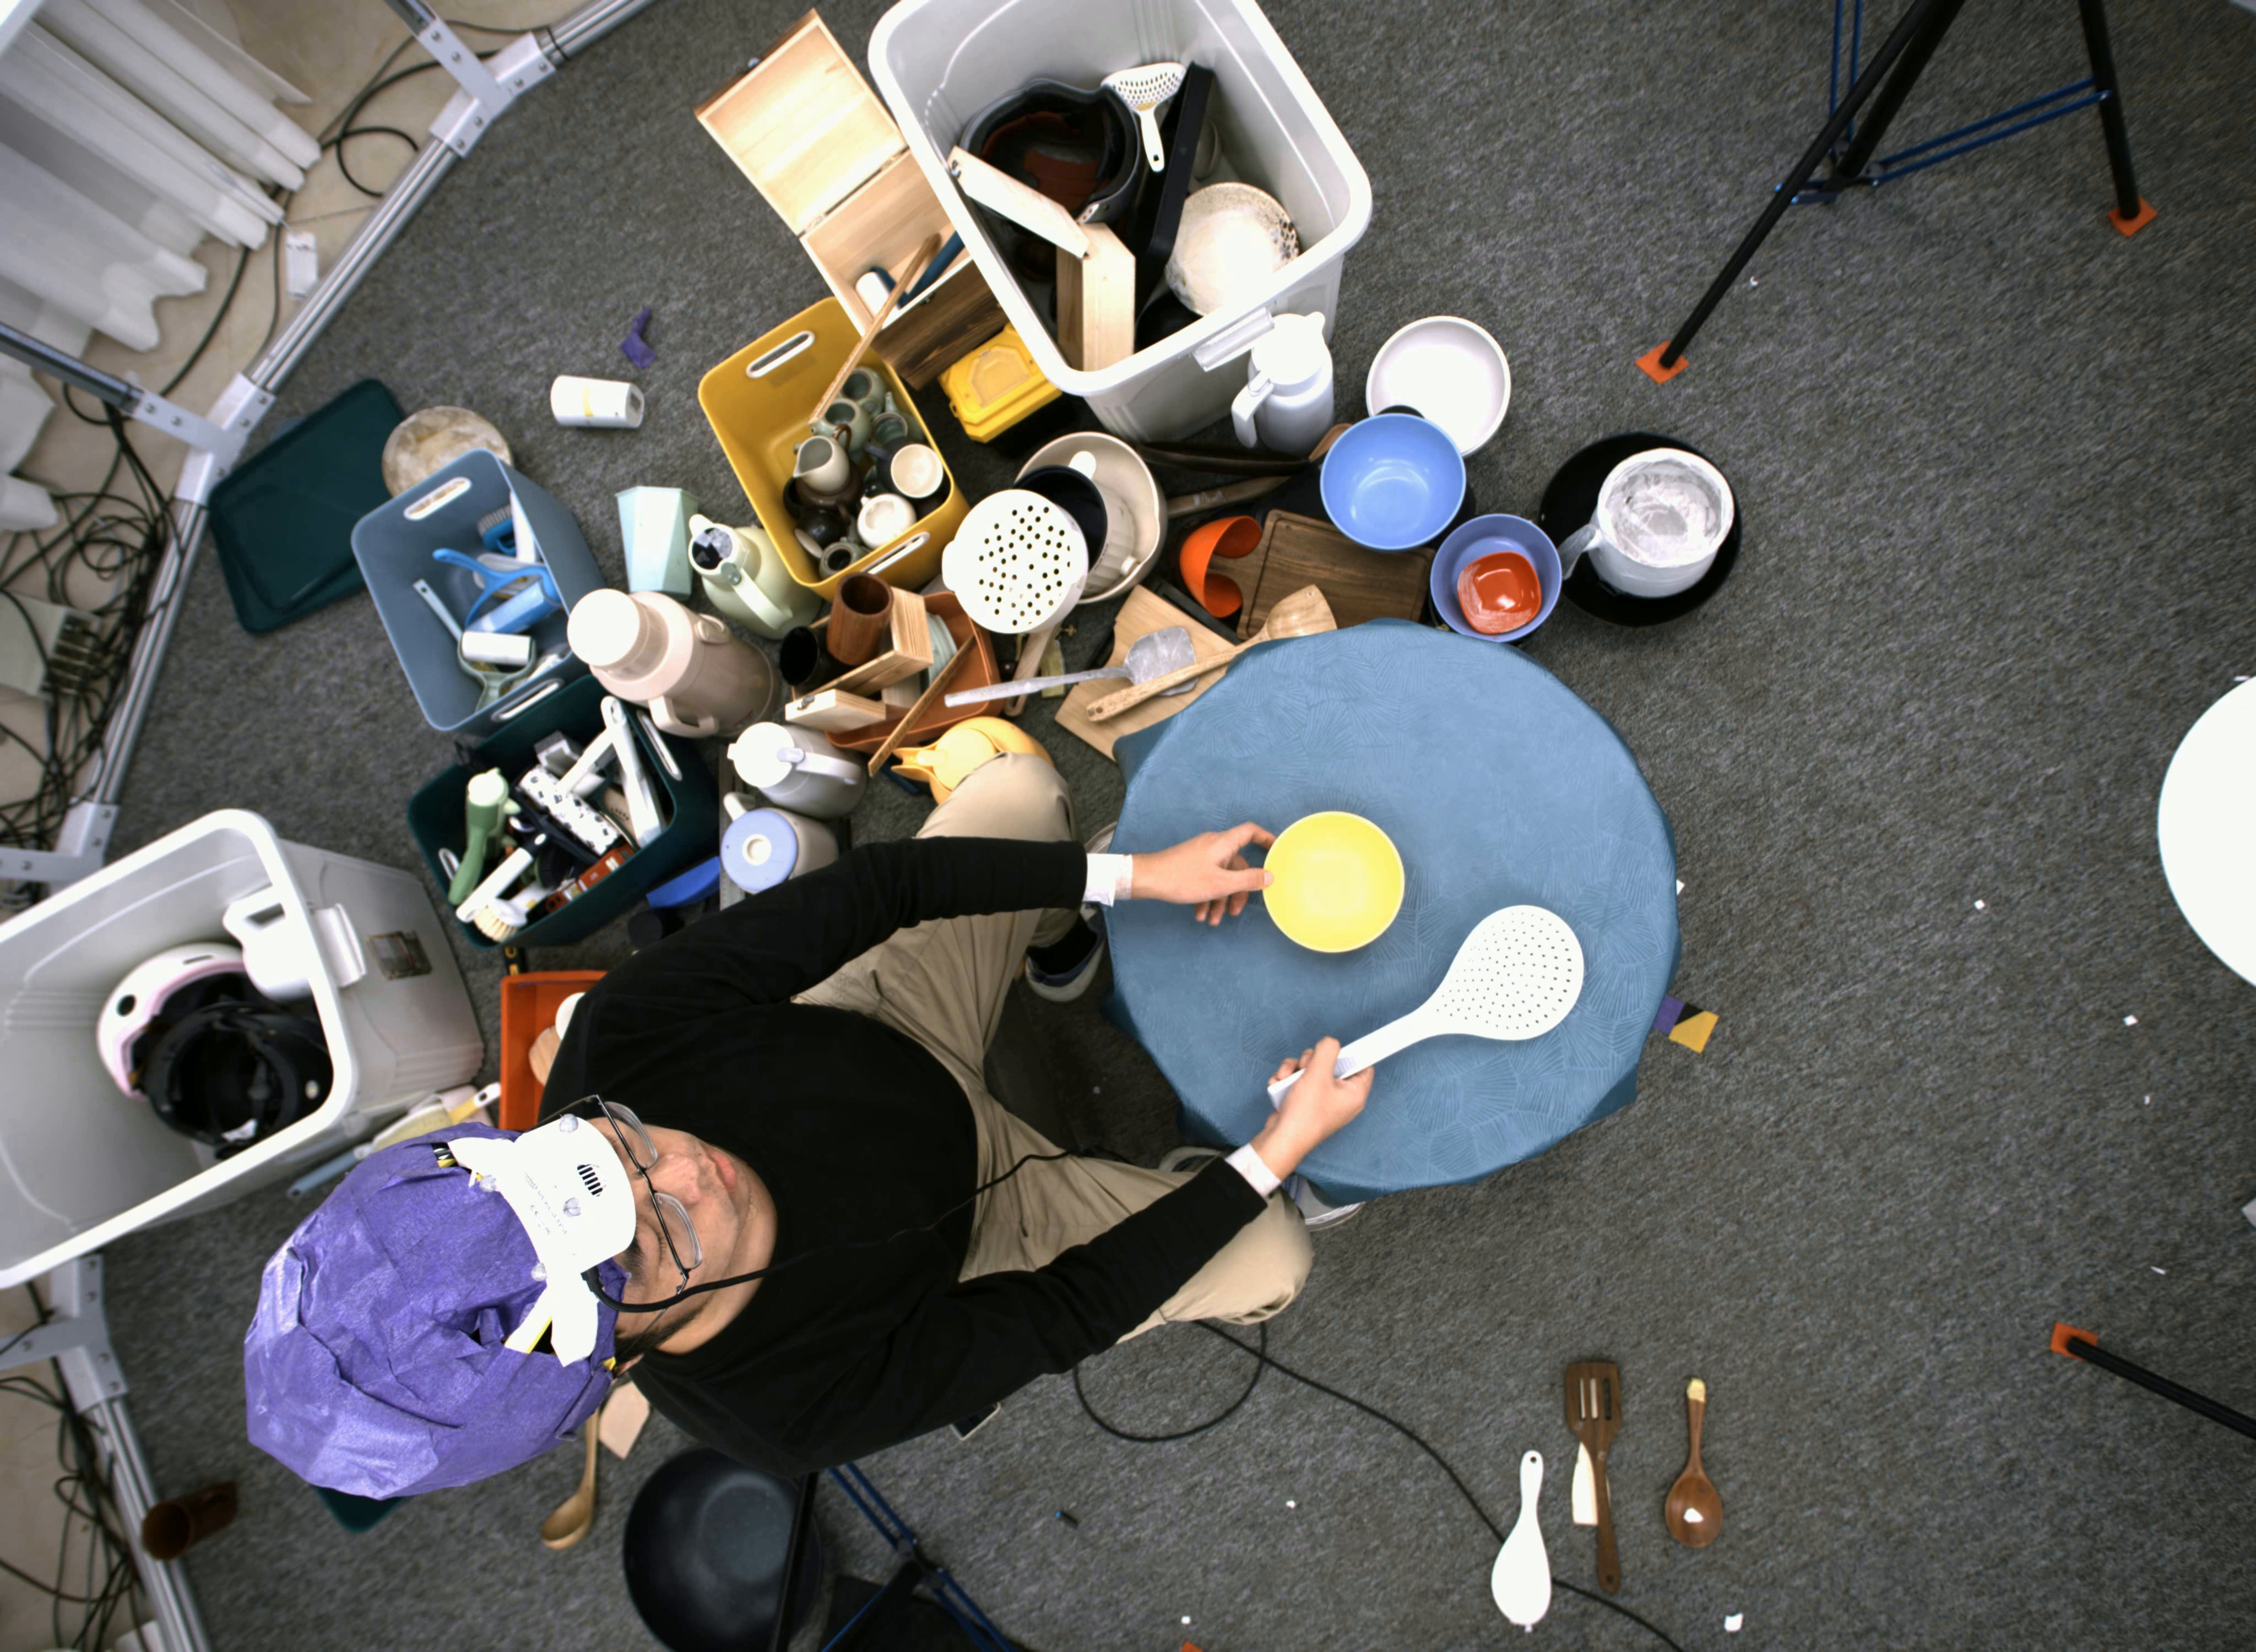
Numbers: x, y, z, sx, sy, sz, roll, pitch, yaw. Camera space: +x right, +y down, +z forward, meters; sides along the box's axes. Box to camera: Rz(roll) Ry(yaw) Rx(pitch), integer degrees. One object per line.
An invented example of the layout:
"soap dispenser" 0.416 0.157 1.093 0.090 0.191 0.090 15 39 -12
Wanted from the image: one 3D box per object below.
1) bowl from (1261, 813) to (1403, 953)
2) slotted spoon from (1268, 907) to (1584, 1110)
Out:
"bowl" 0.212 0.061 1.443 0.146 0.060 0.144 -1 84 9
"slotted spoon" 0.300 0.194 1.391 0.348 0.045 0.137 -27 102 -7
